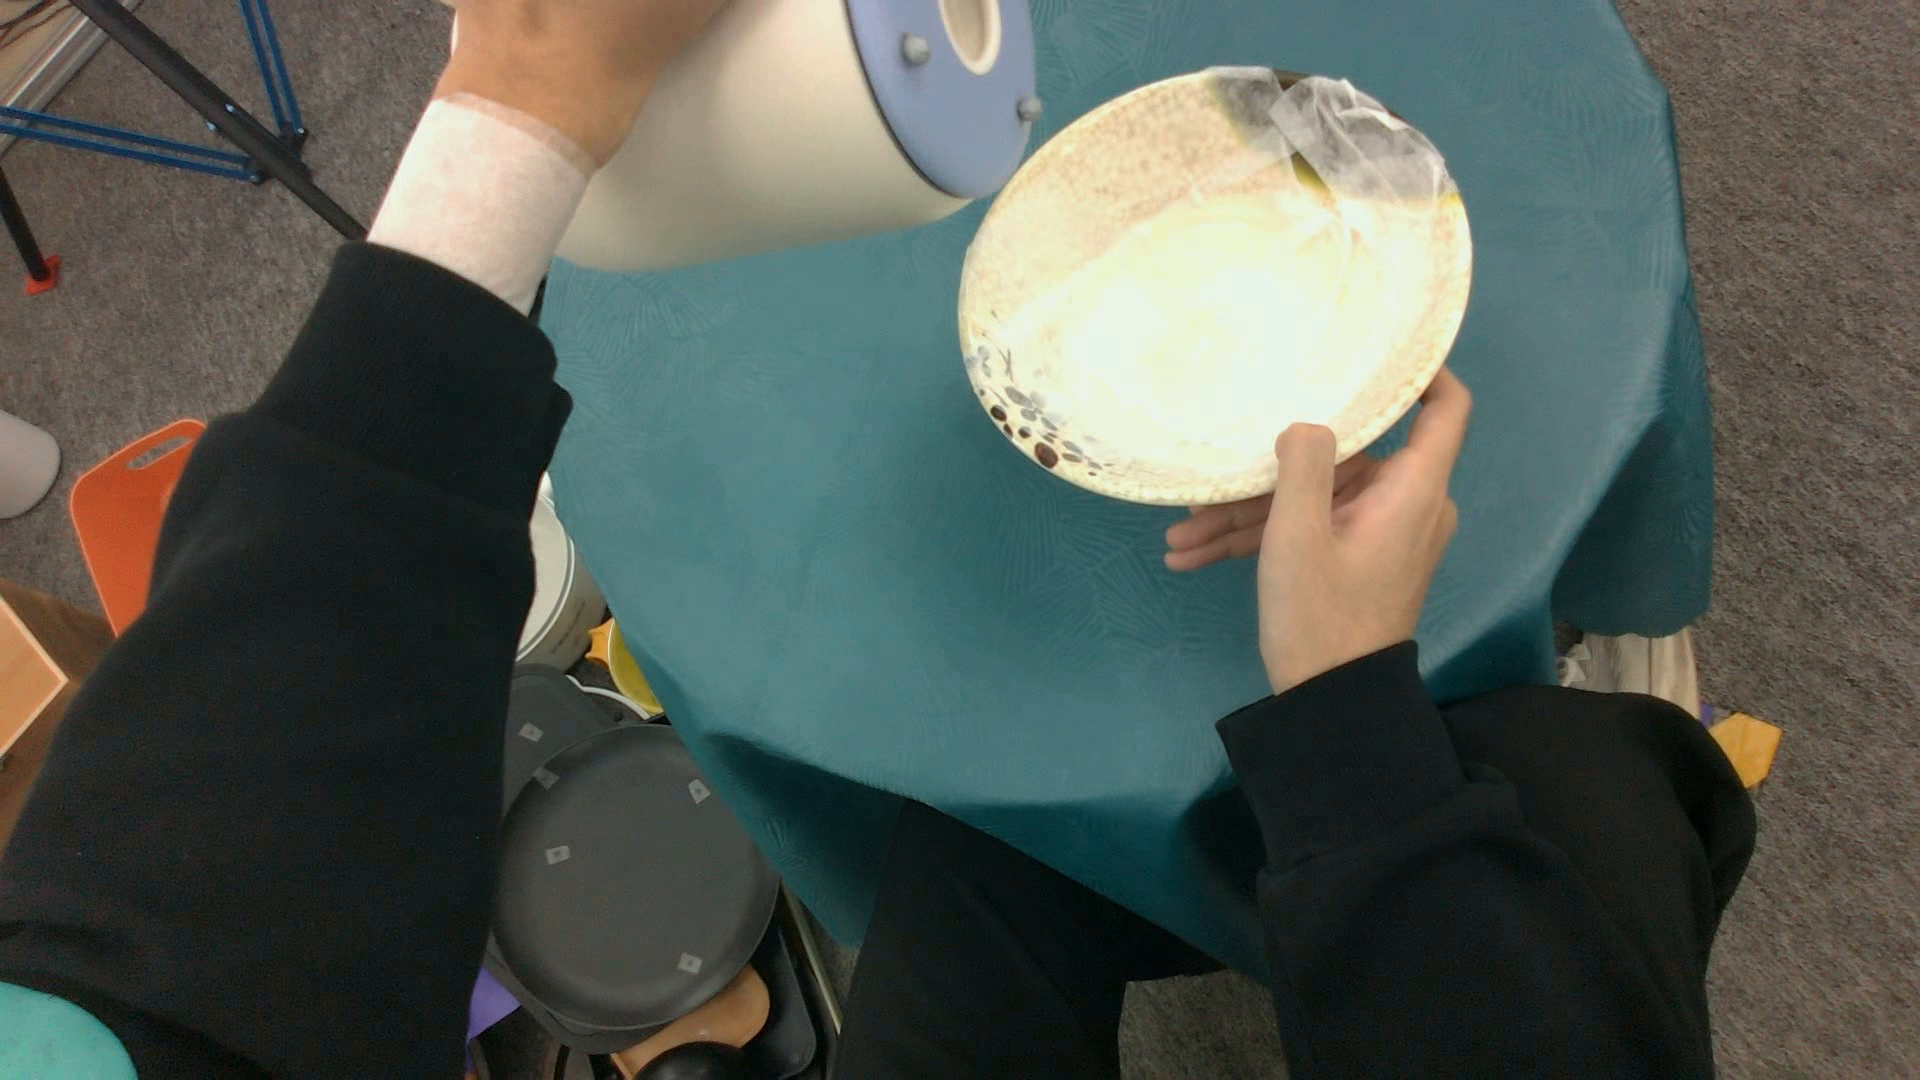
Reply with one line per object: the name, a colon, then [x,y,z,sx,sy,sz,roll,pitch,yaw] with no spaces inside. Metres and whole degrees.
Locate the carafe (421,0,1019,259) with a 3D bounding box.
carafe: [-0.093,-0.182,0.476,0.182,0.191,0.132,-4,76,30]

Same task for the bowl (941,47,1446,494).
bowl: [0.099,-0.103,0.589,0.203,0.078,0.204,-6,69,16]
